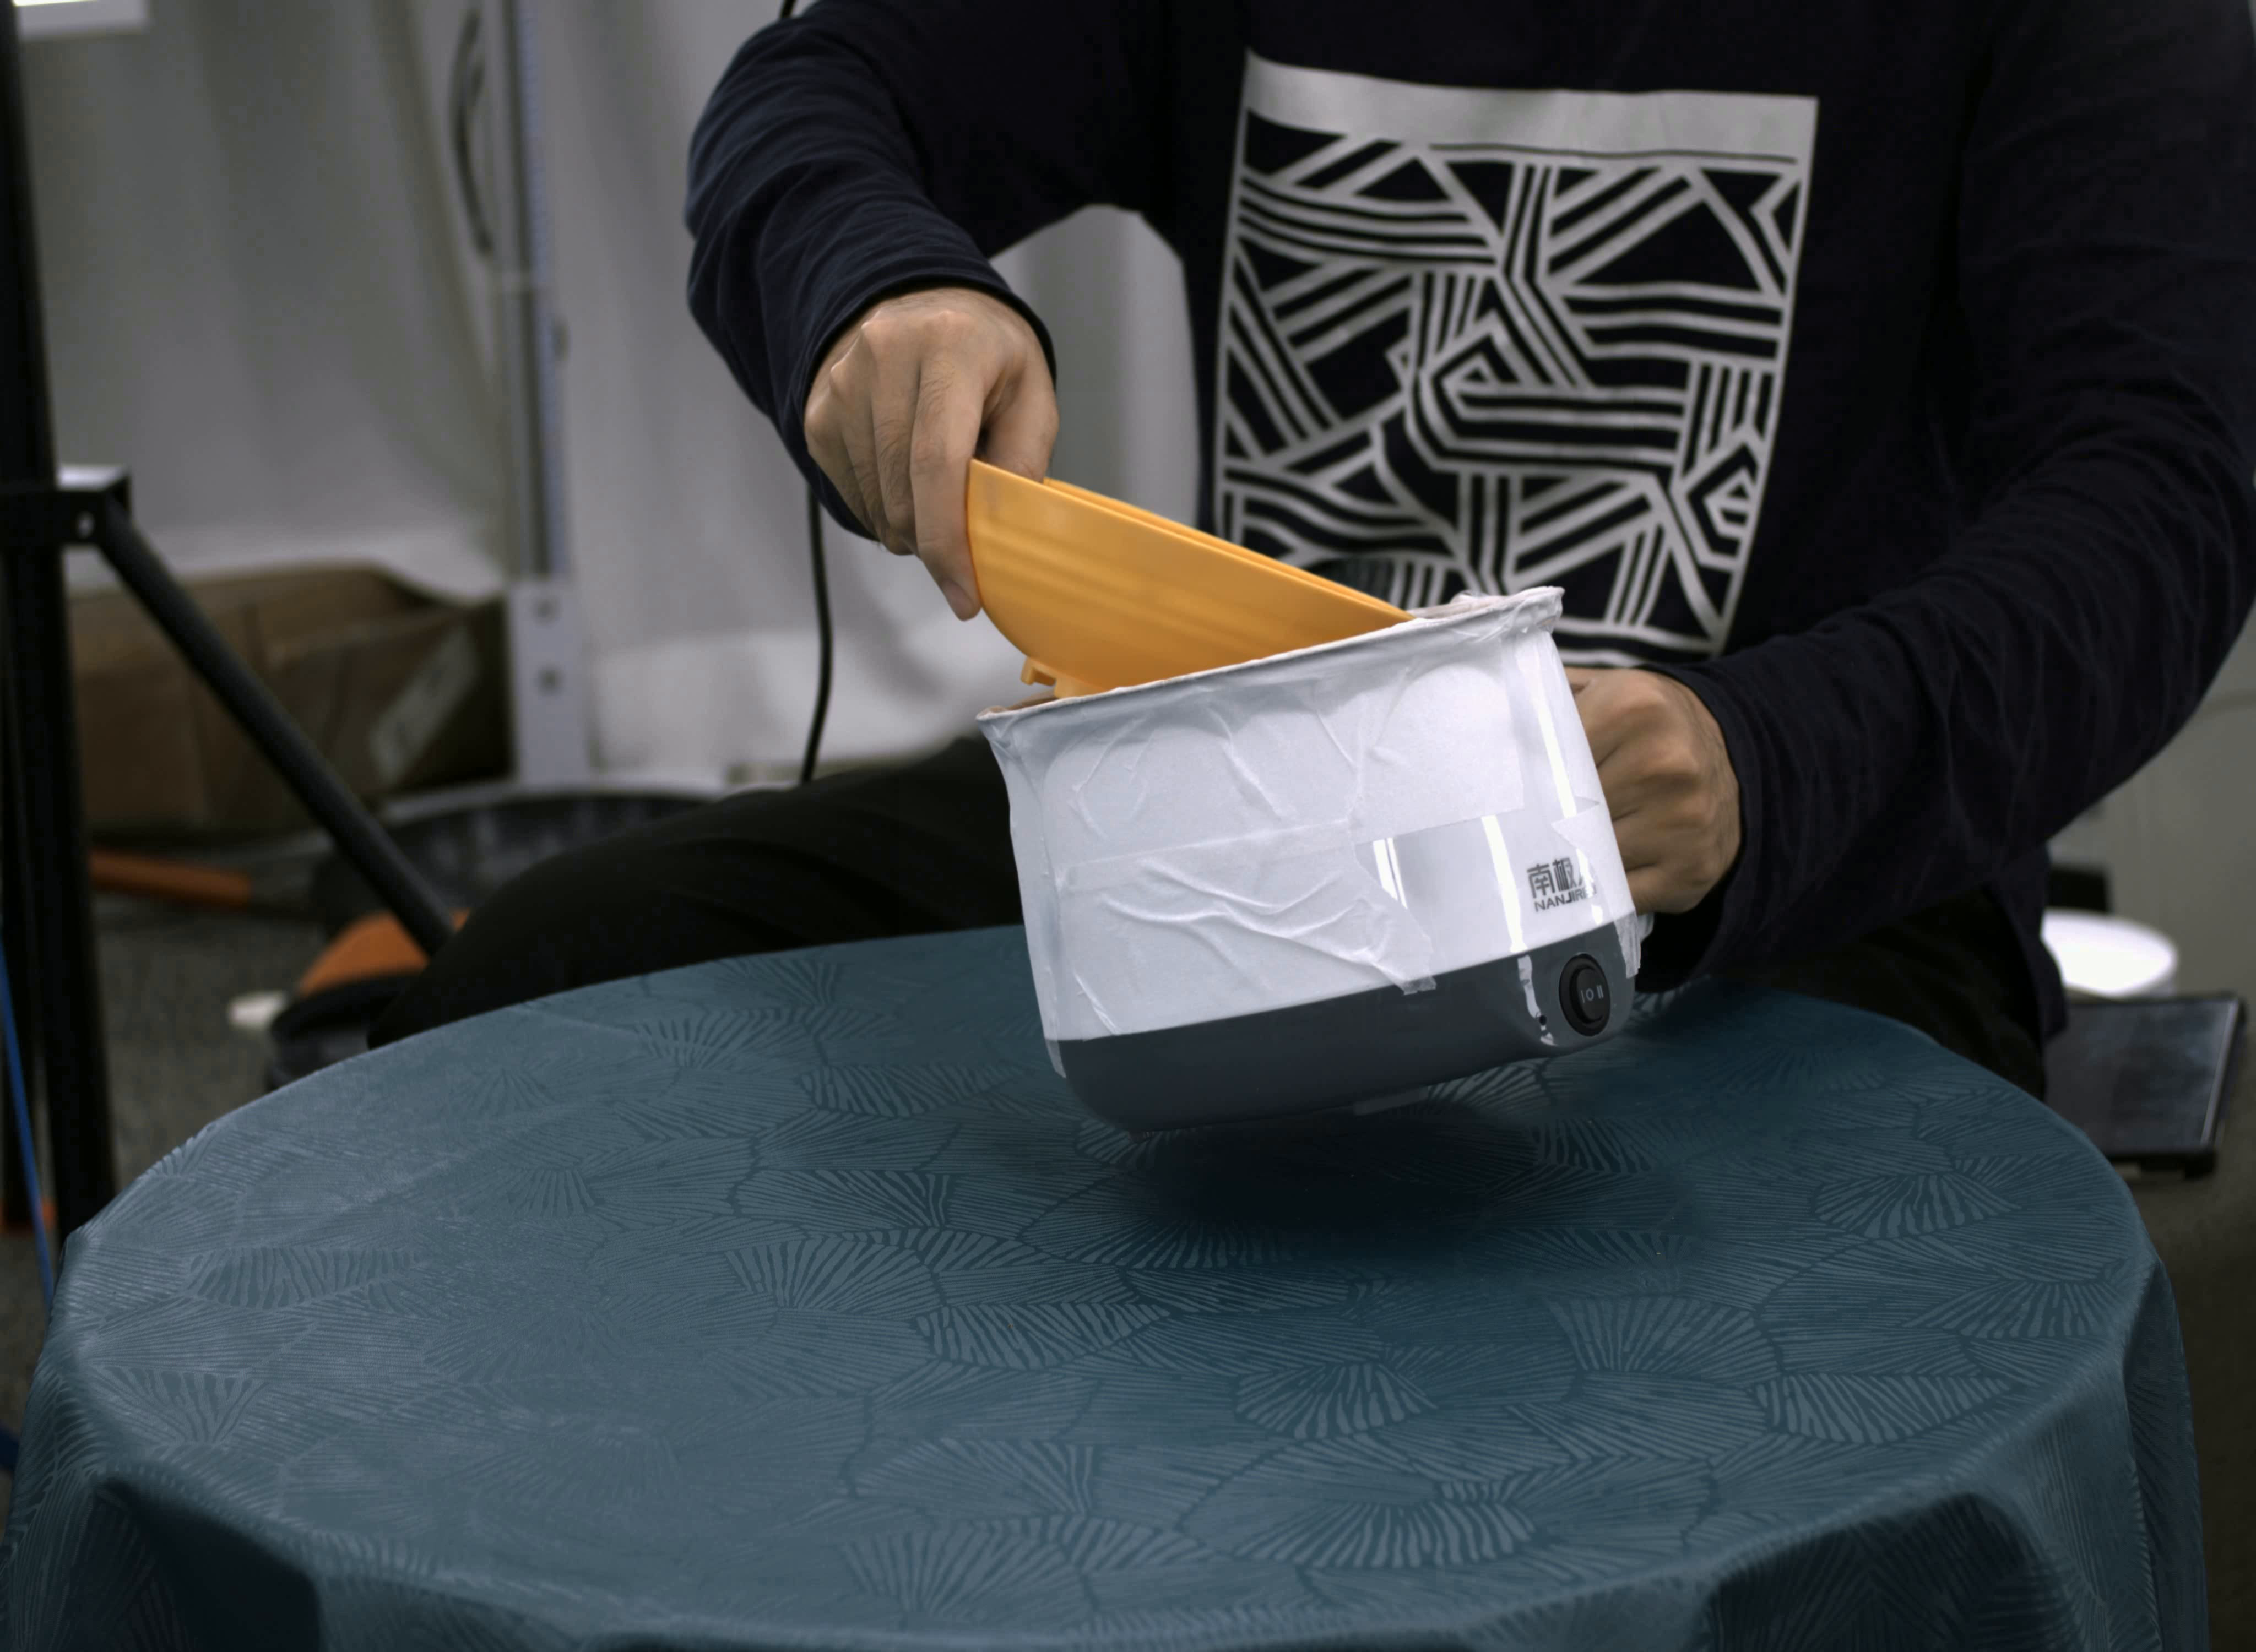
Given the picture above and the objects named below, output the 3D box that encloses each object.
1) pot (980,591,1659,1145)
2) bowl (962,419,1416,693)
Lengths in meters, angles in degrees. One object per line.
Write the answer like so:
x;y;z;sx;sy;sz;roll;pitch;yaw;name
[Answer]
0.073;0.009;1.574;0.182;0.137;0.228;-11;1;41;pot
0.009;-0.067;1.584;0.144;0.060;0.146;21;8;-5;bowl
